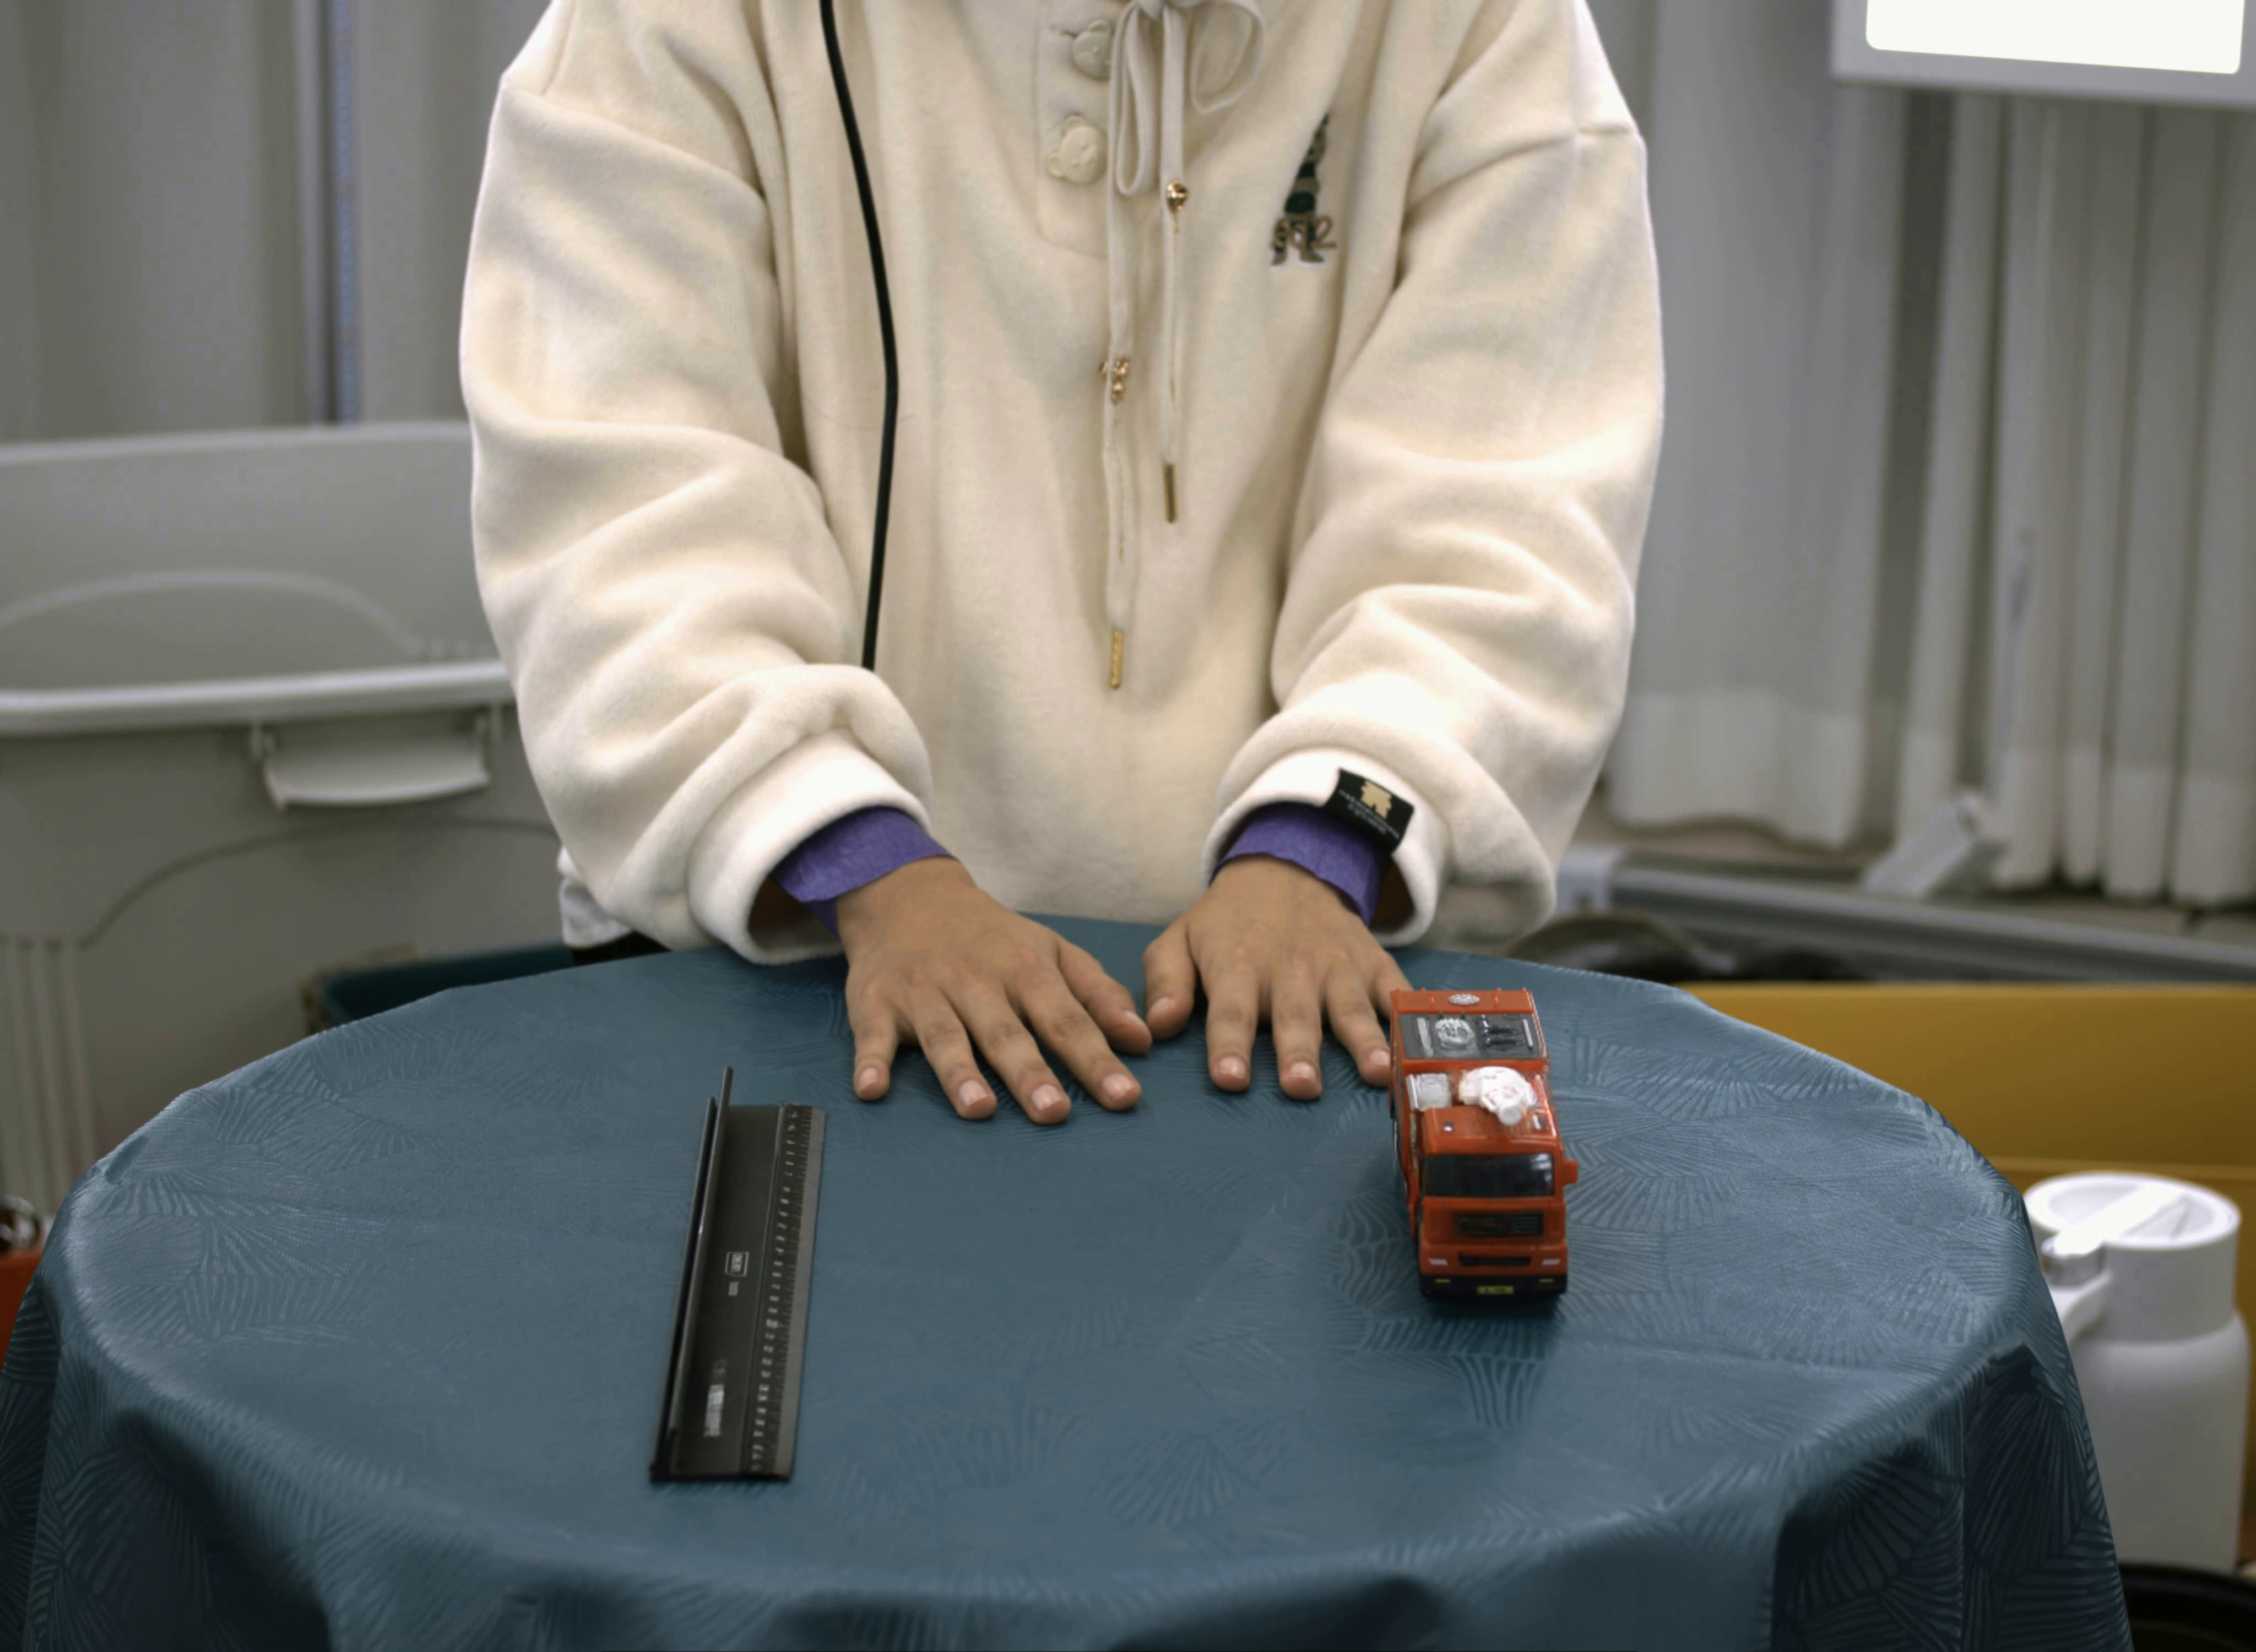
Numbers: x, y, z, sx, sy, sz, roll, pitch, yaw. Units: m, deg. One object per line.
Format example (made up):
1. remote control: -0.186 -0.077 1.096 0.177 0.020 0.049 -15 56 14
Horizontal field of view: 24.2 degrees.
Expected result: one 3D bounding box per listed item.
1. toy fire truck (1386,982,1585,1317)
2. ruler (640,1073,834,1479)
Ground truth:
1. toy fire truck: 0.106 0.094 1.582 0.054 0.071 0.167 0 14 0
2. ruler: -0.112 0.126 1.538 0.039 0.017 0.311 4 15 -1
